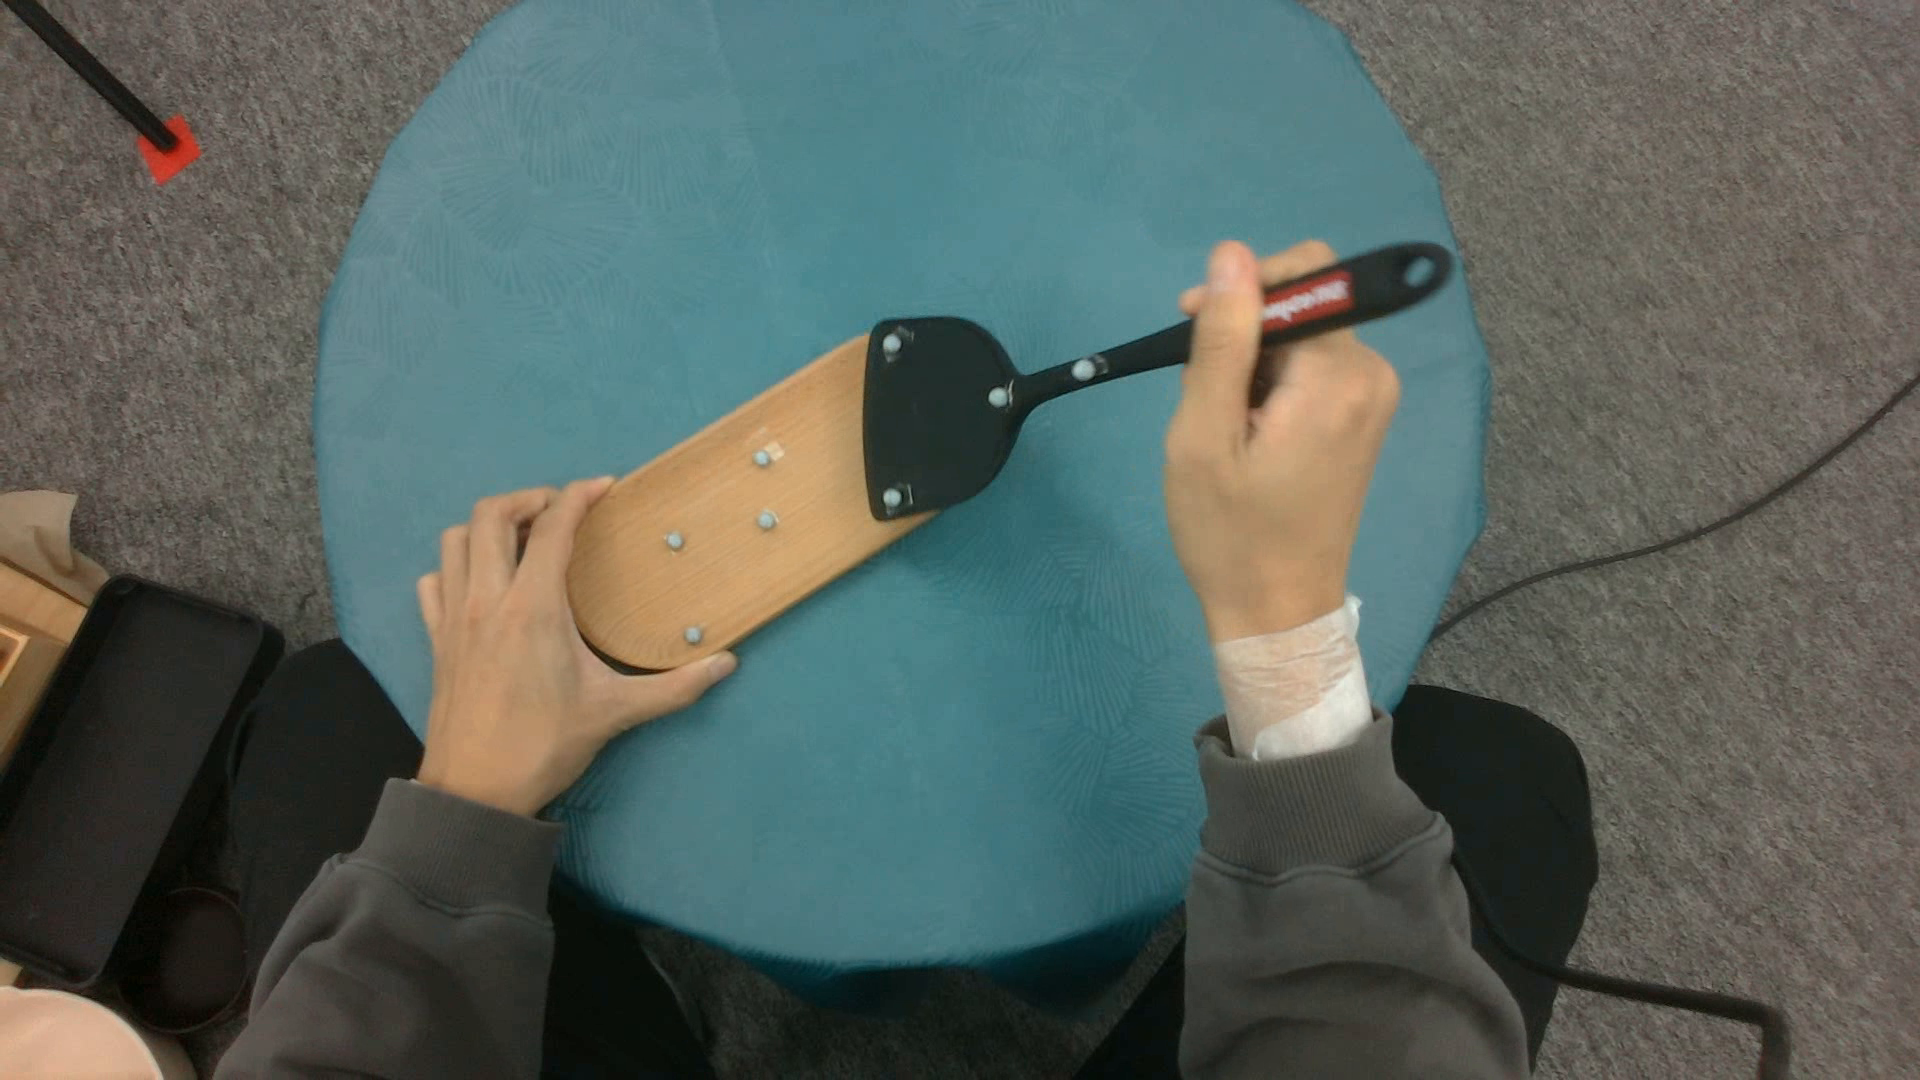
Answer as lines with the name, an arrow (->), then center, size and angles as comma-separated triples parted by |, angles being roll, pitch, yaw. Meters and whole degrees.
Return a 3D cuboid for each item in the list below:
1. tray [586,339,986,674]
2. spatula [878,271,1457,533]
tray -> -0.082, -0.018, 0.700 | 0.231, 0.020, 0.102 | -33, 77, -9
spatula -> 0.054, -0.062, 0.536 | 0.040, 0.325, 0.100 | 1, 86, -28
